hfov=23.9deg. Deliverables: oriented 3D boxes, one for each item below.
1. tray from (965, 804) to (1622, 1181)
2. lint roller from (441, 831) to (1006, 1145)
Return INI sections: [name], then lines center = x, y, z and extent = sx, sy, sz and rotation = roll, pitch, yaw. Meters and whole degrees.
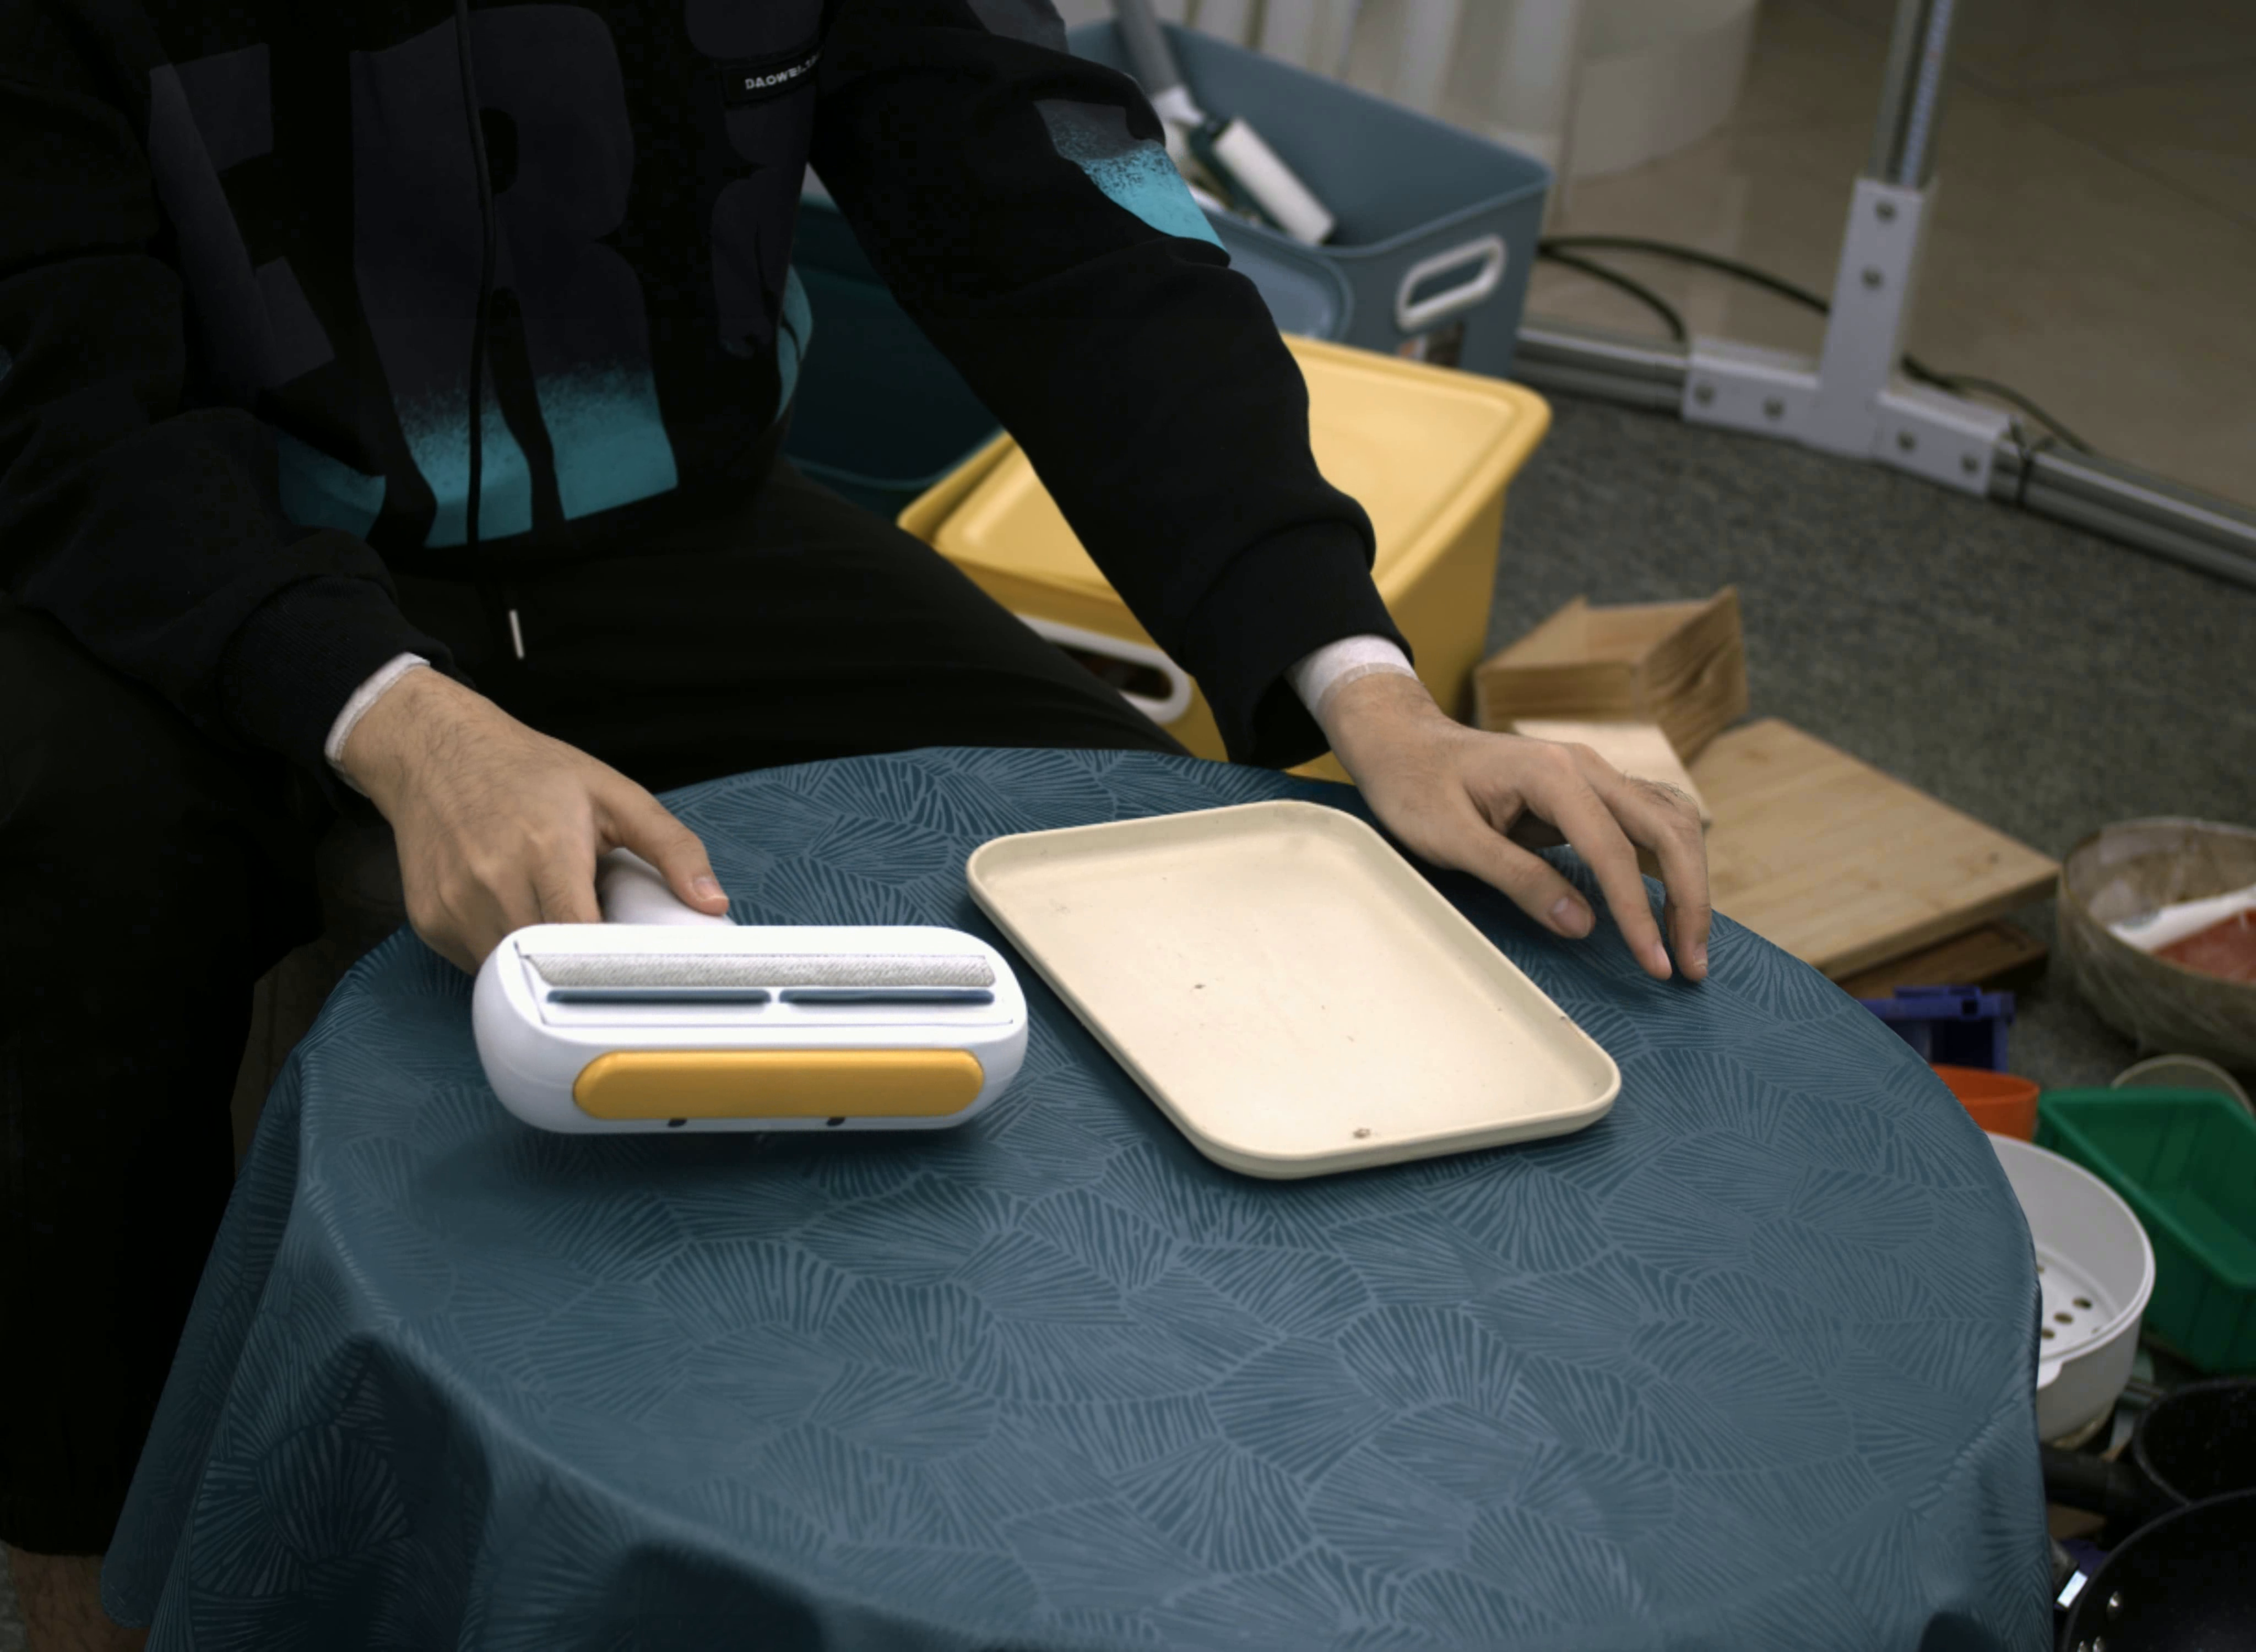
[tray]
center = 0.056, 0.058, 1.920
extent = 0.170, 0.017, 0.242
rotation = -8, 30, -25
[lint roller]
center = -0.153, 0.043, 1.834
extent = 0.191, 0.074, 0.194
rotation = -2, 33, -19
